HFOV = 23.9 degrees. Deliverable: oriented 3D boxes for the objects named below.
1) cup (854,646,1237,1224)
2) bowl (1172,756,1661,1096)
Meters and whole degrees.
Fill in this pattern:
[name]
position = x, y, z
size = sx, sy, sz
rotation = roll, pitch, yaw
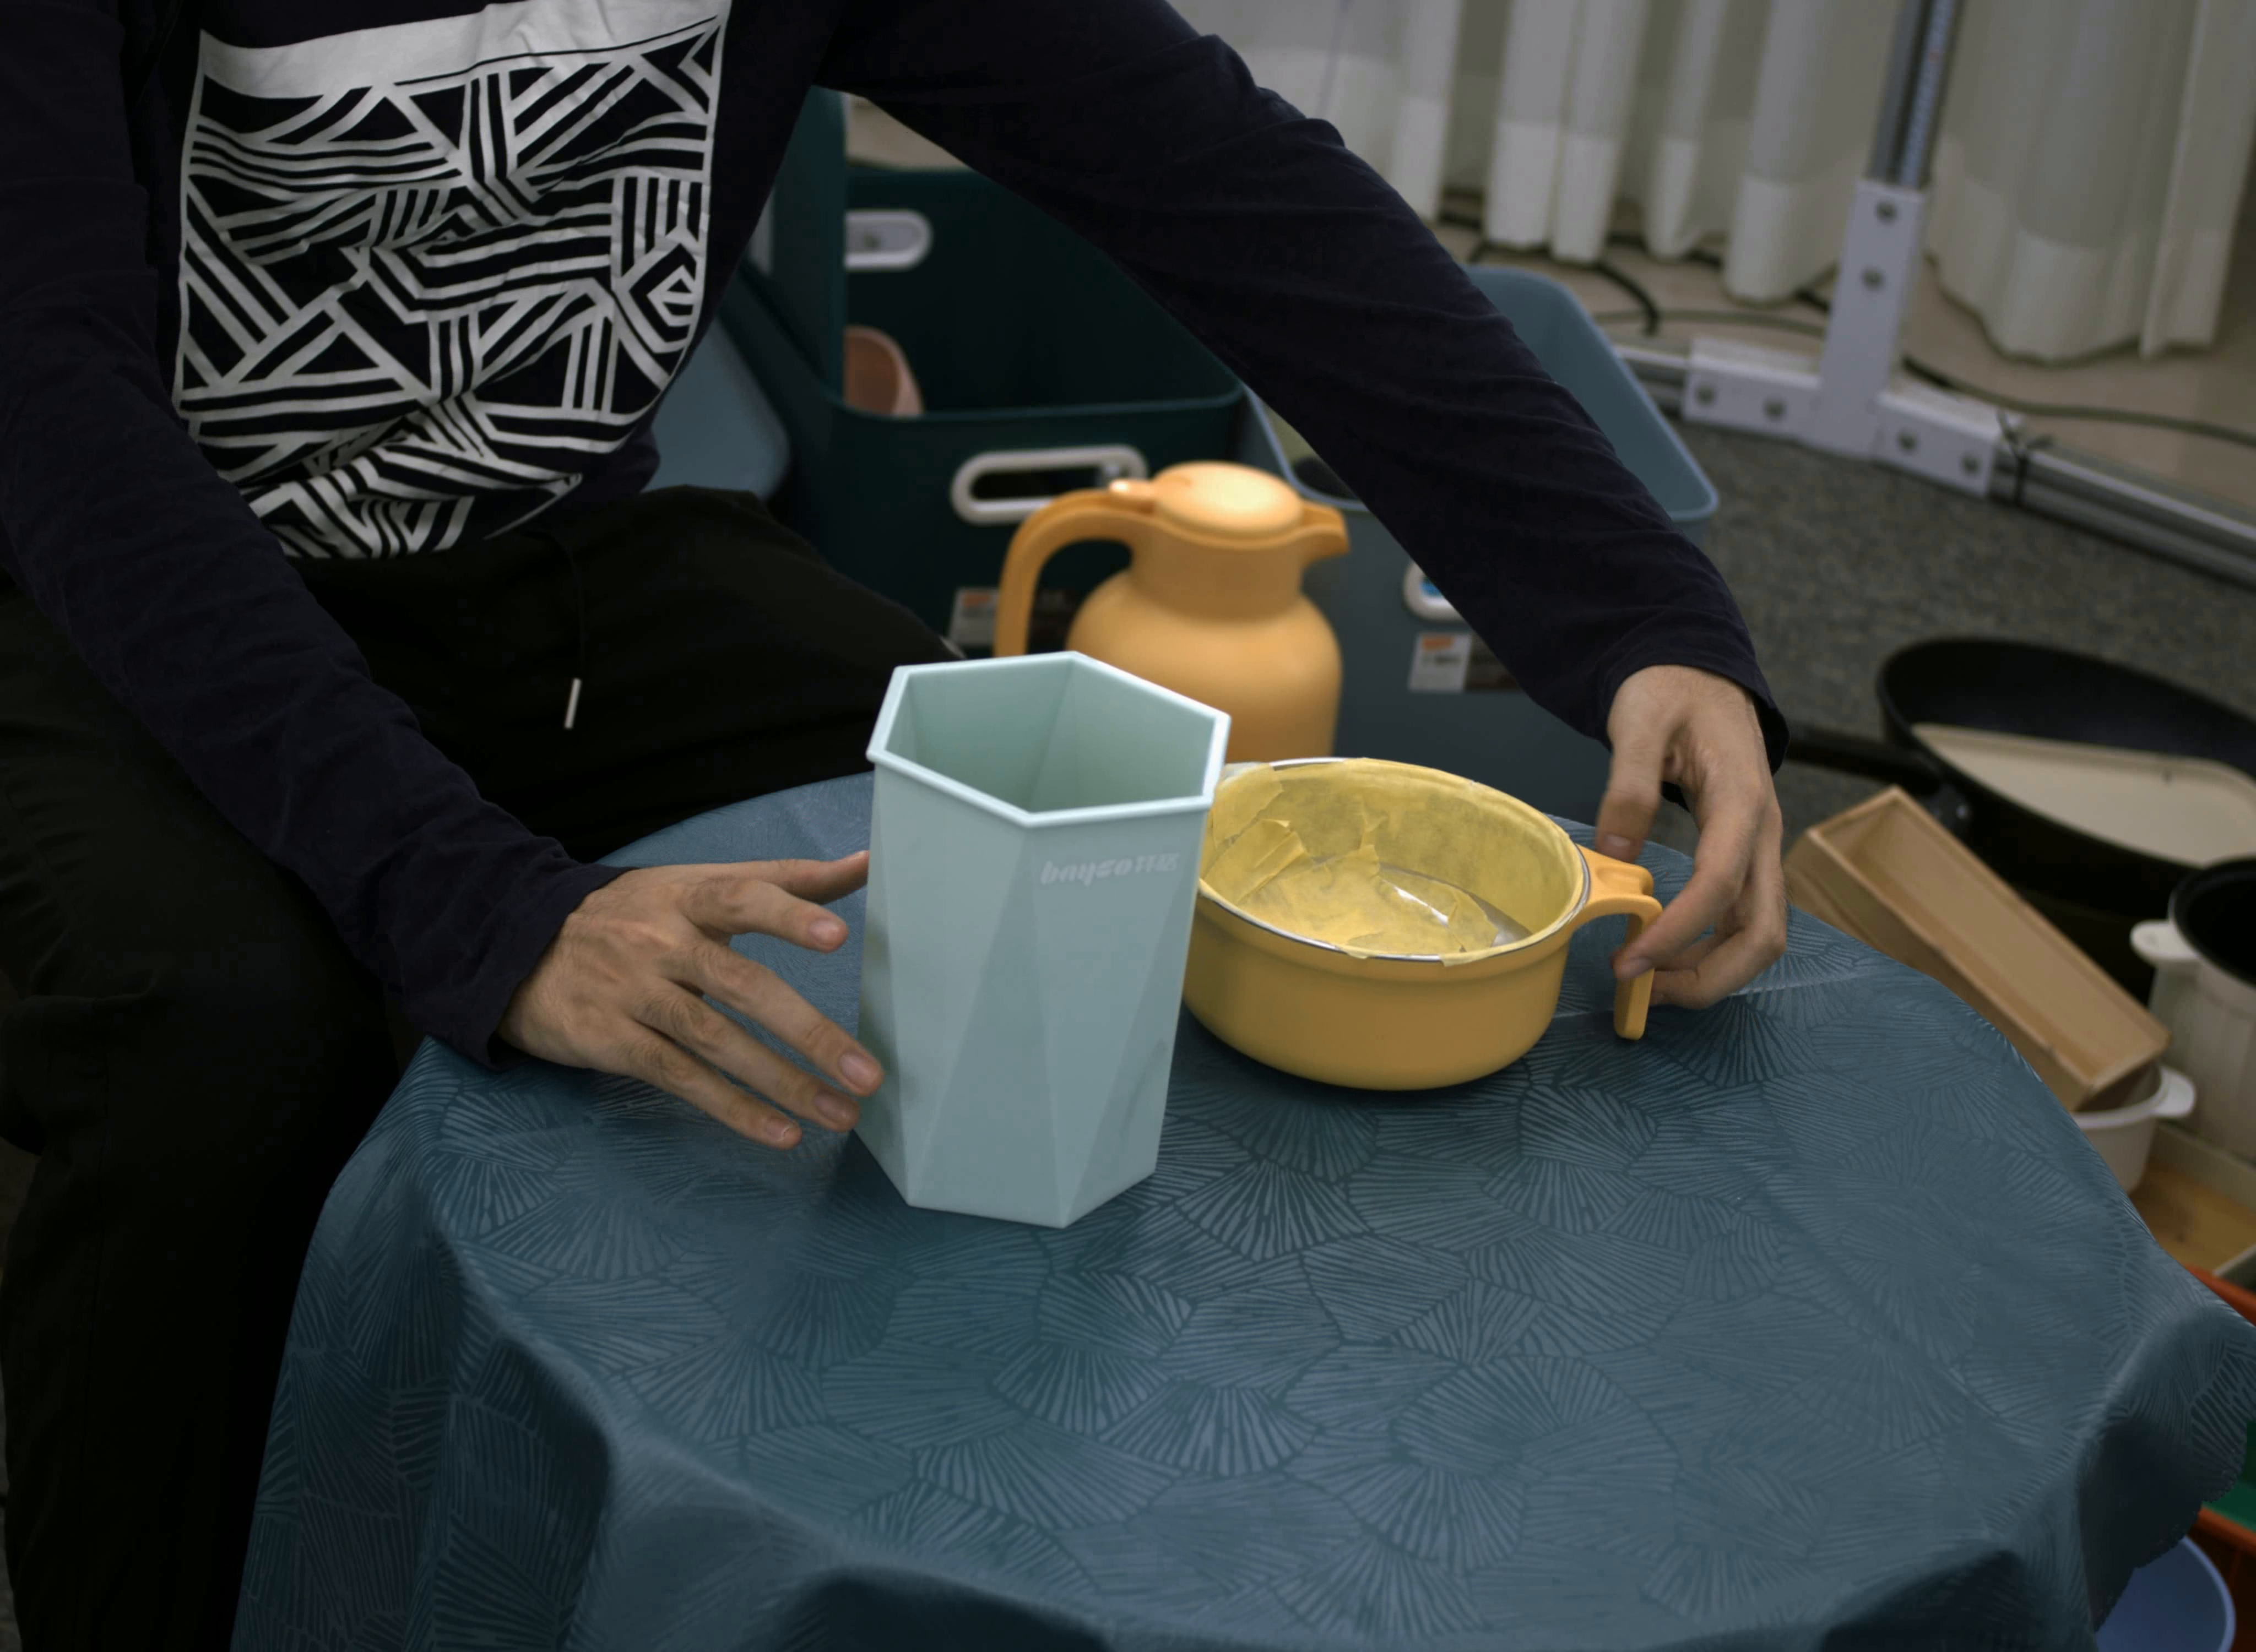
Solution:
[cup]
position = -0.032, 0.039, 1.785
size = 0.130, 0.162, 0.116
rotation = -6, 28, -25
[bowl]
position = 0.101, 0.040, 1.919
size = 0.178, 0.074, 0.154
rotation = 1, 26, -8
